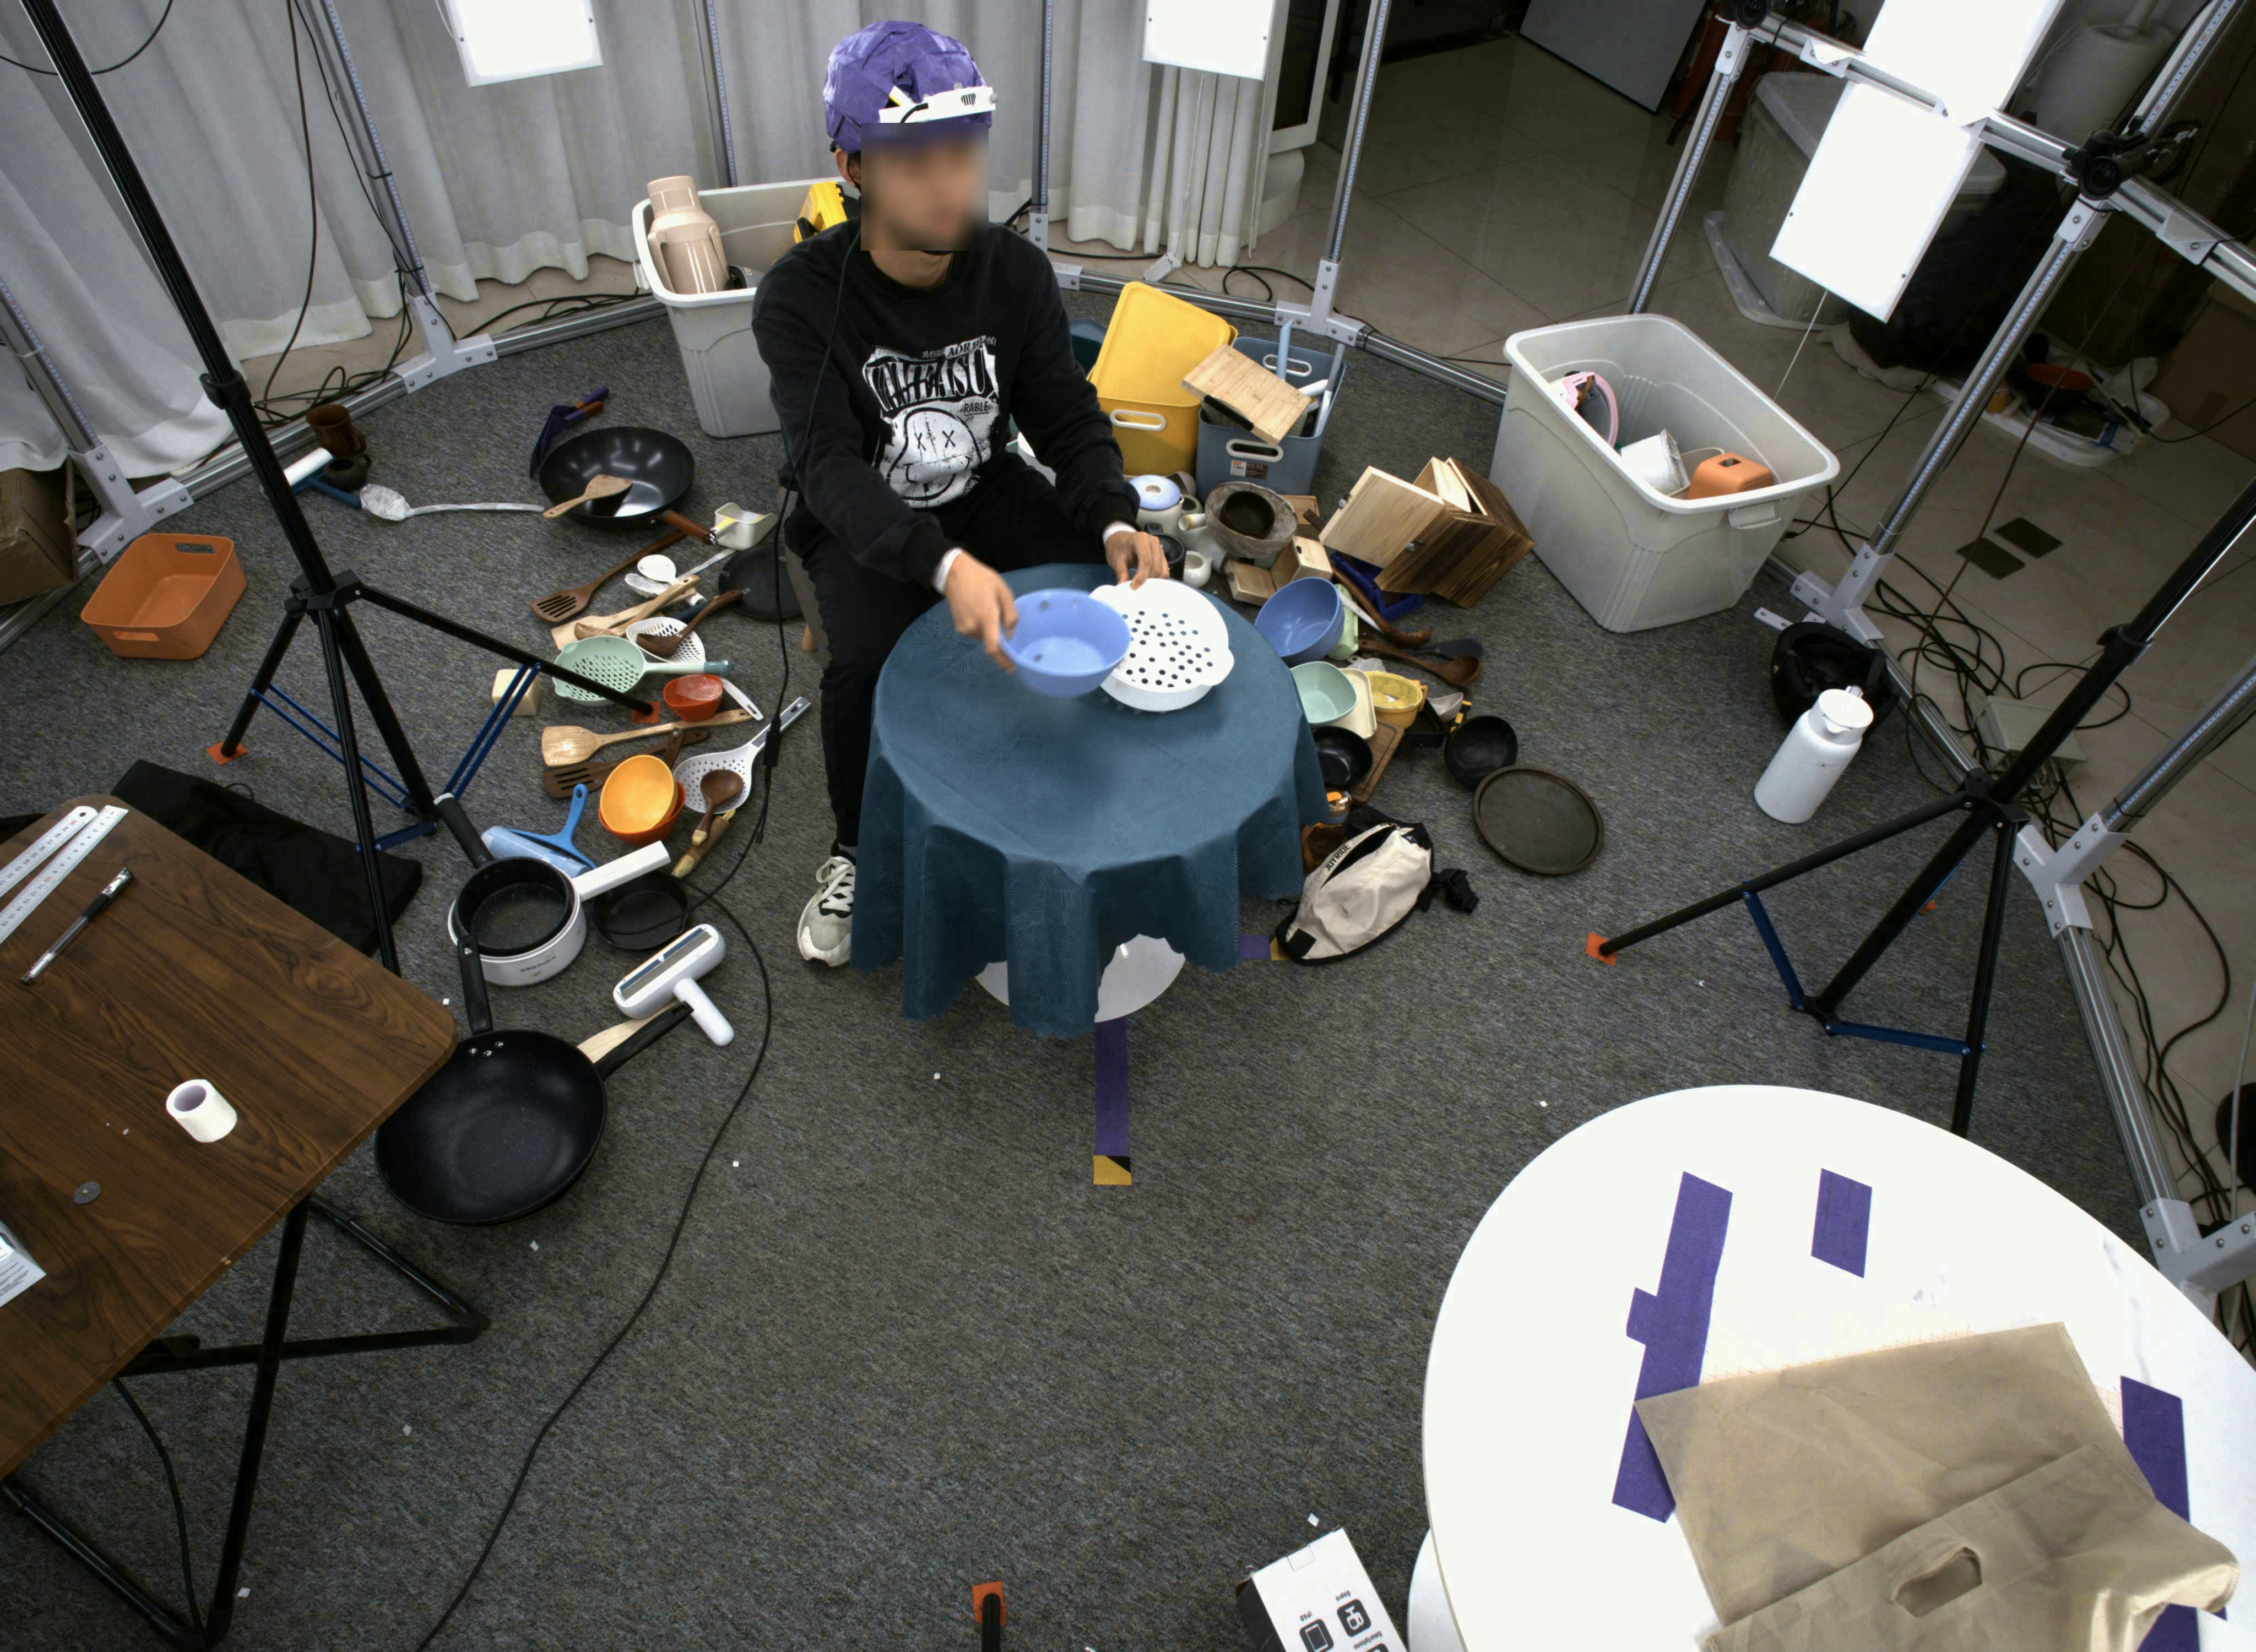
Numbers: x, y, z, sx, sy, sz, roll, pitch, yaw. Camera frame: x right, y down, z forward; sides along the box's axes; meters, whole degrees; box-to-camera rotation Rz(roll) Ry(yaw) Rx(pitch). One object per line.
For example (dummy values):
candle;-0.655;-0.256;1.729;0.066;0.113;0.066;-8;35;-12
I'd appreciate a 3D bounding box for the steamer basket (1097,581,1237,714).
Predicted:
steamer basket;0.044;-0.254;1.844;0.232;0.068;0.205;31;60;10

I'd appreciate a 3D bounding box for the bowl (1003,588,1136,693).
bowl;-0.079;-0.238;1.704;0.176;0.068;0.180;4;44;-4
